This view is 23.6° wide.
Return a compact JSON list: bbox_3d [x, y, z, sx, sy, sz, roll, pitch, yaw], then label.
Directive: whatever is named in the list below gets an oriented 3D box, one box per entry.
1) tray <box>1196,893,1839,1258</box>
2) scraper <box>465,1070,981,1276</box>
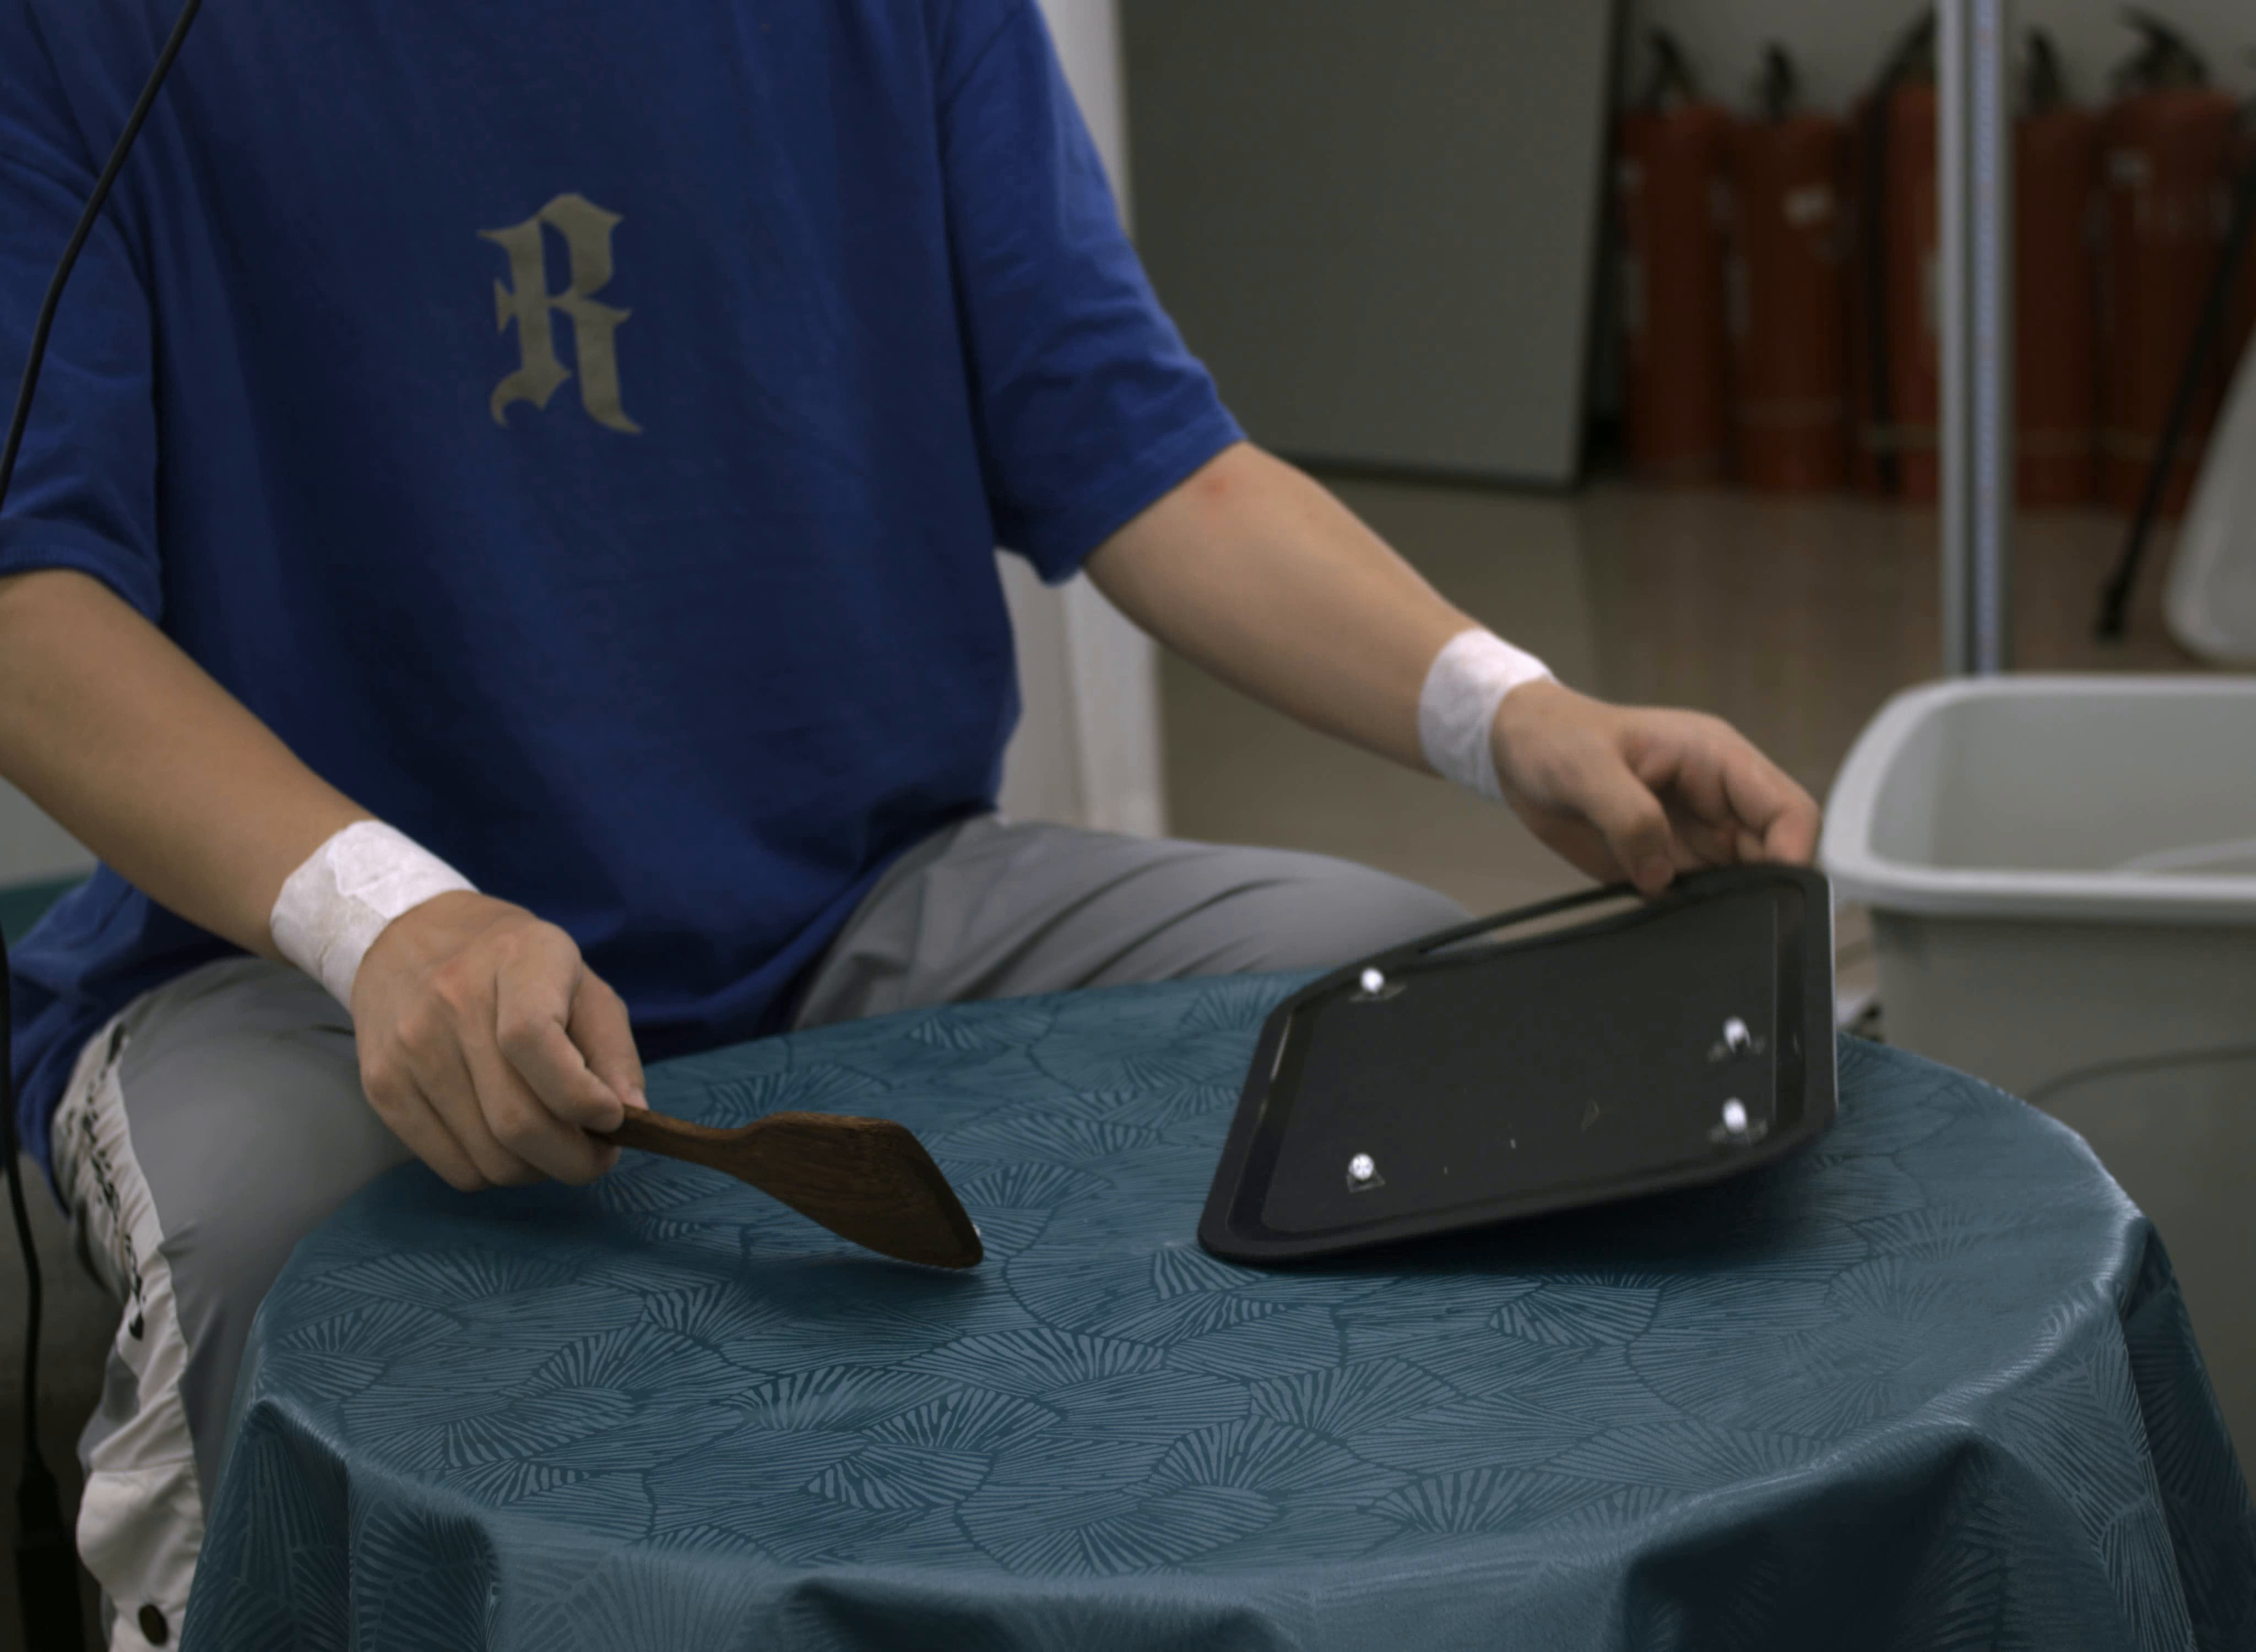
[{"bbox_3d":[0.136,0.078,1.816,0.210,0.010,0.324,-11,14,11],"label":"tray"},{"bbox_3d":[-0.136,0.104,1.736,0.213,0.075,0.011,10,52,40],"label":"scraper"}]
